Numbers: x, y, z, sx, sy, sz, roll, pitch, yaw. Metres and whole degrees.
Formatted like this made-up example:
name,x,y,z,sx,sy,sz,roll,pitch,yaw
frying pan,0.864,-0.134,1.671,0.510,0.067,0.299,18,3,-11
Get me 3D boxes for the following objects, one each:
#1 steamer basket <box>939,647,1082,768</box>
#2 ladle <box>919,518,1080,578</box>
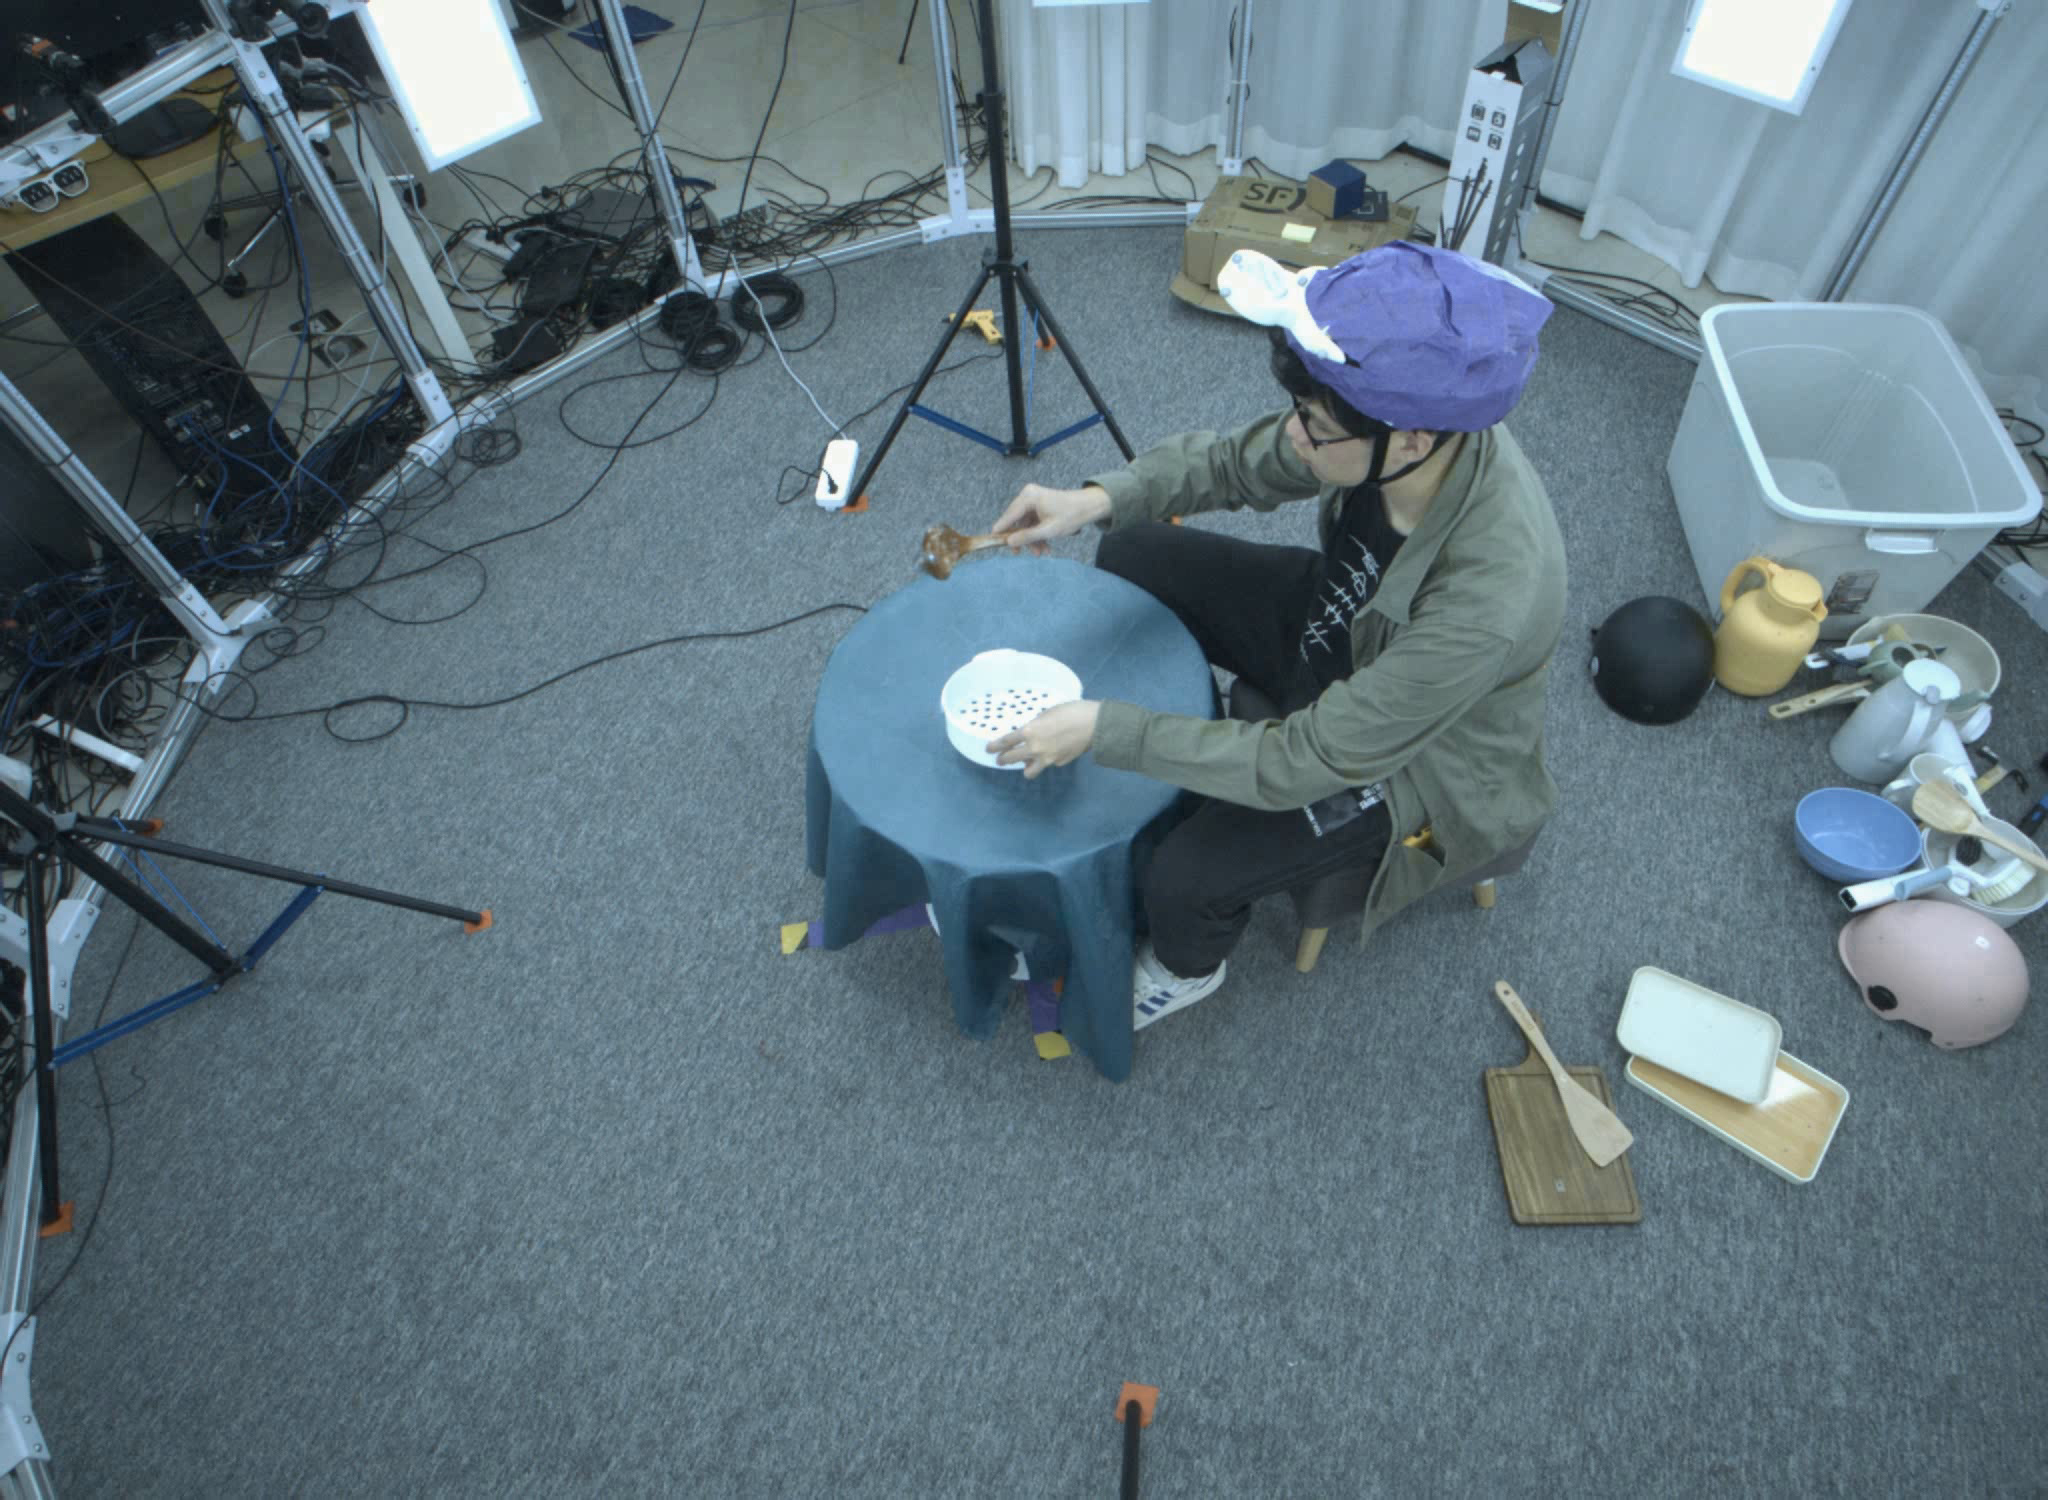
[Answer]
name,x,y,z,sx,sy,sz,roll,pitch,yaw
steamer basket,-0.018,-0.057,1.762,0.203,0.070,0.226,-12,43,-11
ladle,-0.027,-0.298,1.738,0.278,0.082,0.075,-11,23,-26
